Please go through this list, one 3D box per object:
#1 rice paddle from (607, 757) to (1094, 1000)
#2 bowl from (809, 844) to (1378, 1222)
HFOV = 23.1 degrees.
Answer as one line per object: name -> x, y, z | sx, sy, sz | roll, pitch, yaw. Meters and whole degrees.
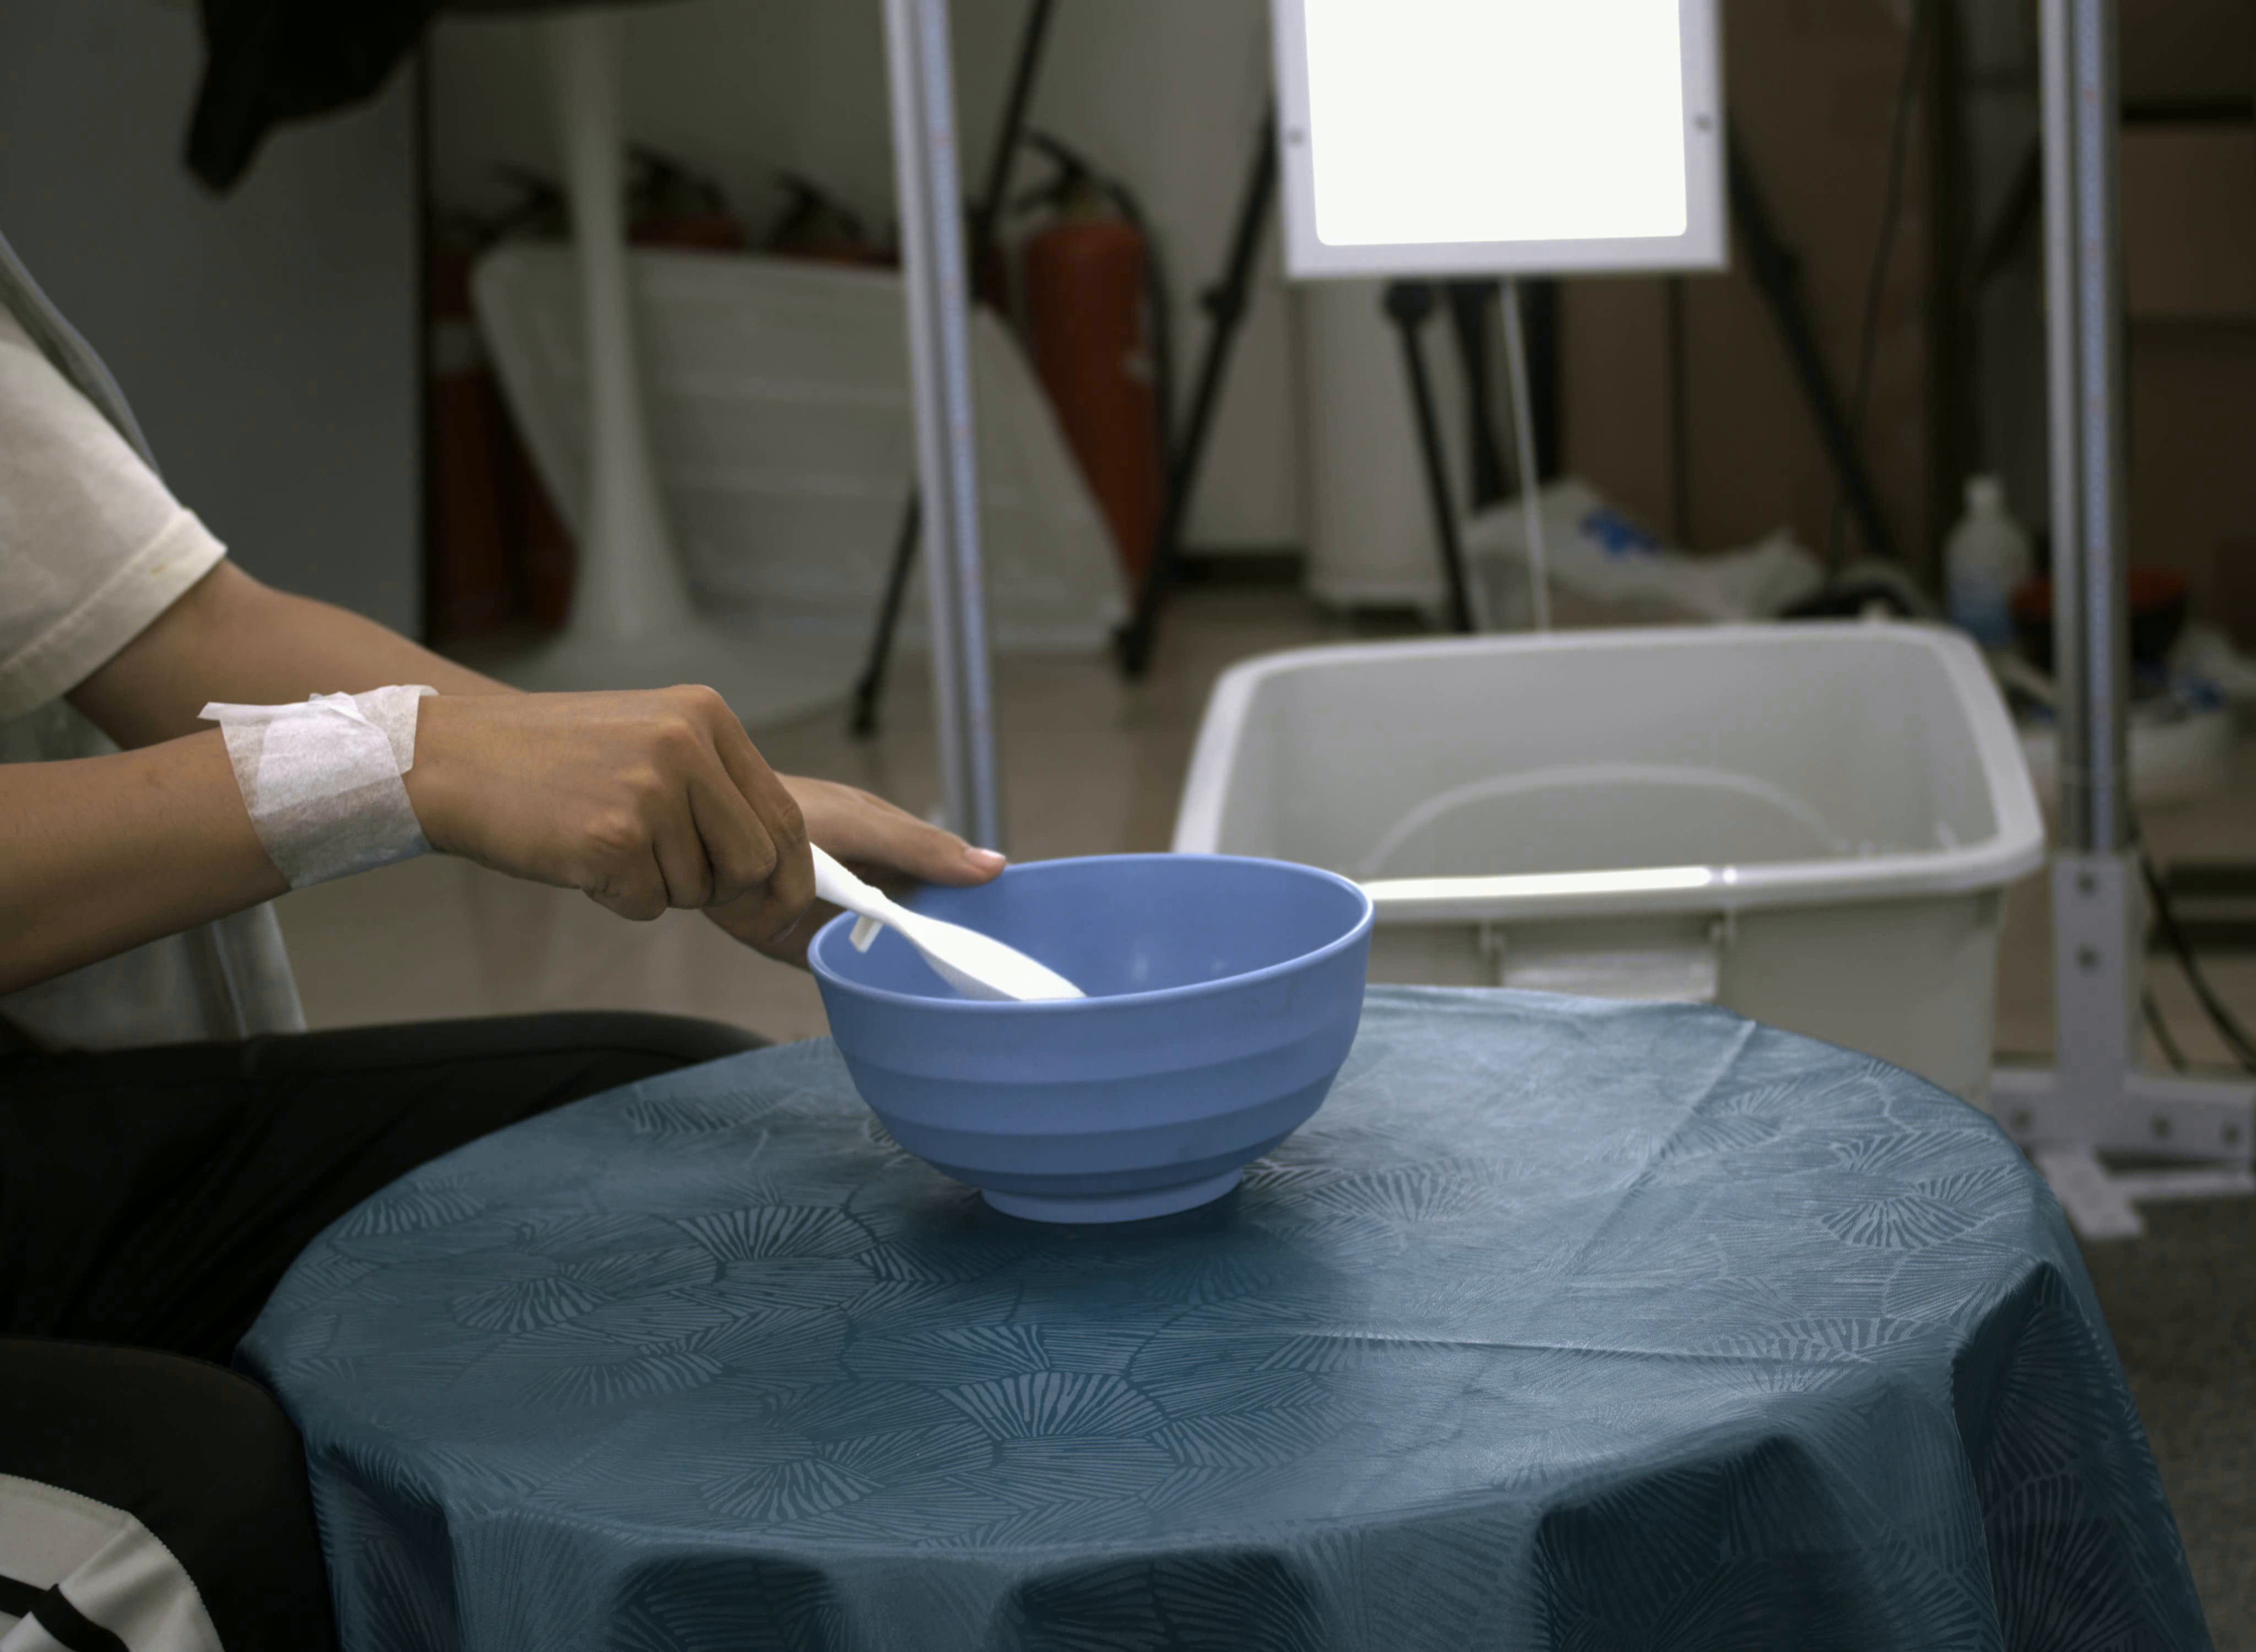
rice paddle -> -0.079, 0.028, 1.840 | 0.202, 0.029, 0.069 | 25, 13, -25
bowl -> -0.009, 0.077, 1.897 | 0.196, 0.096, 0.196 | -4, 15, 0
